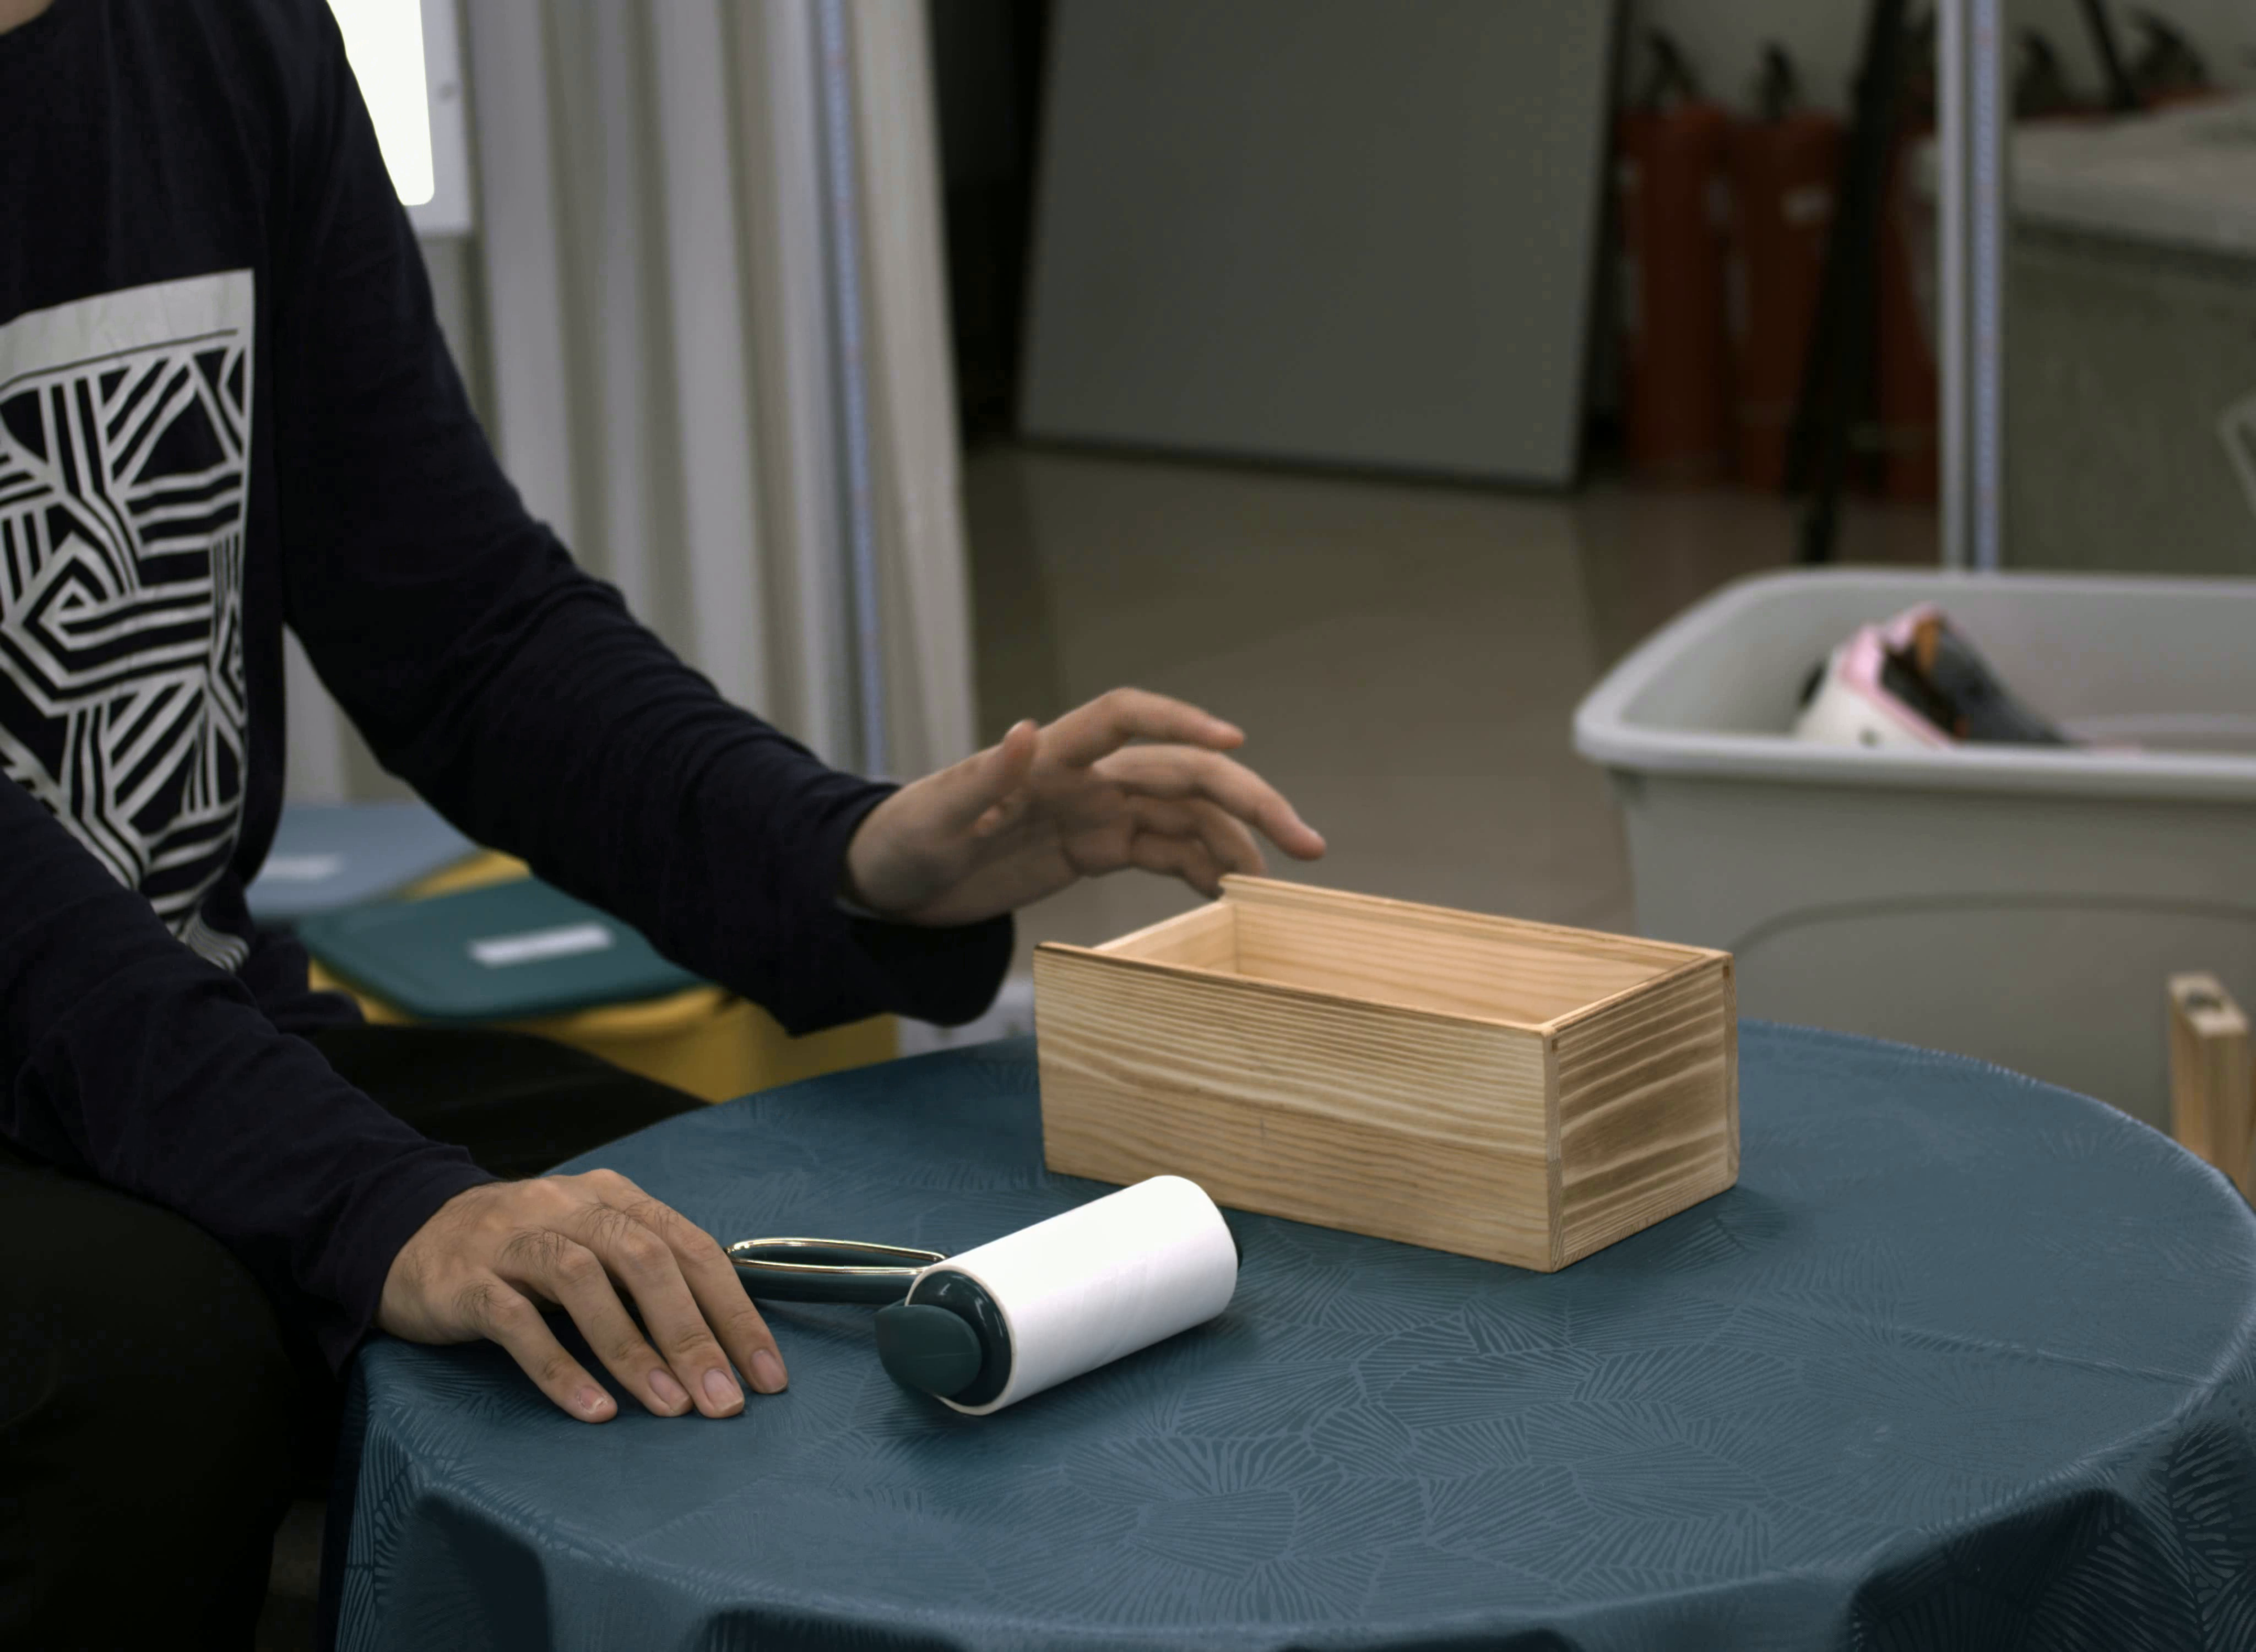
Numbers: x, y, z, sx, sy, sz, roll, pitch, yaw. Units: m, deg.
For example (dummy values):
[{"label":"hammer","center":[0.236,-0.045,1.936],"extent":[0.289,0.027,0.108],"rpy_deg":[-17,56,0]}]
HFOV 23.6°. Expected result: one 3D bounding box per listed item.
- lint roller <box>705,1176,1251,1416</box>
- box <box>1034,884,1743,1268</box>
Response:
[{"label":"lint roller","center":[-0.066,0.135,1.650],"extent":[0.181,0.049,0.131],"rpy_deg":[4,15,43]},{"label":"box","center":[0.084,0.078,1.758],"extent":[0.213,0.081,0.105],"rpy_deg":[6,17,41]}]
